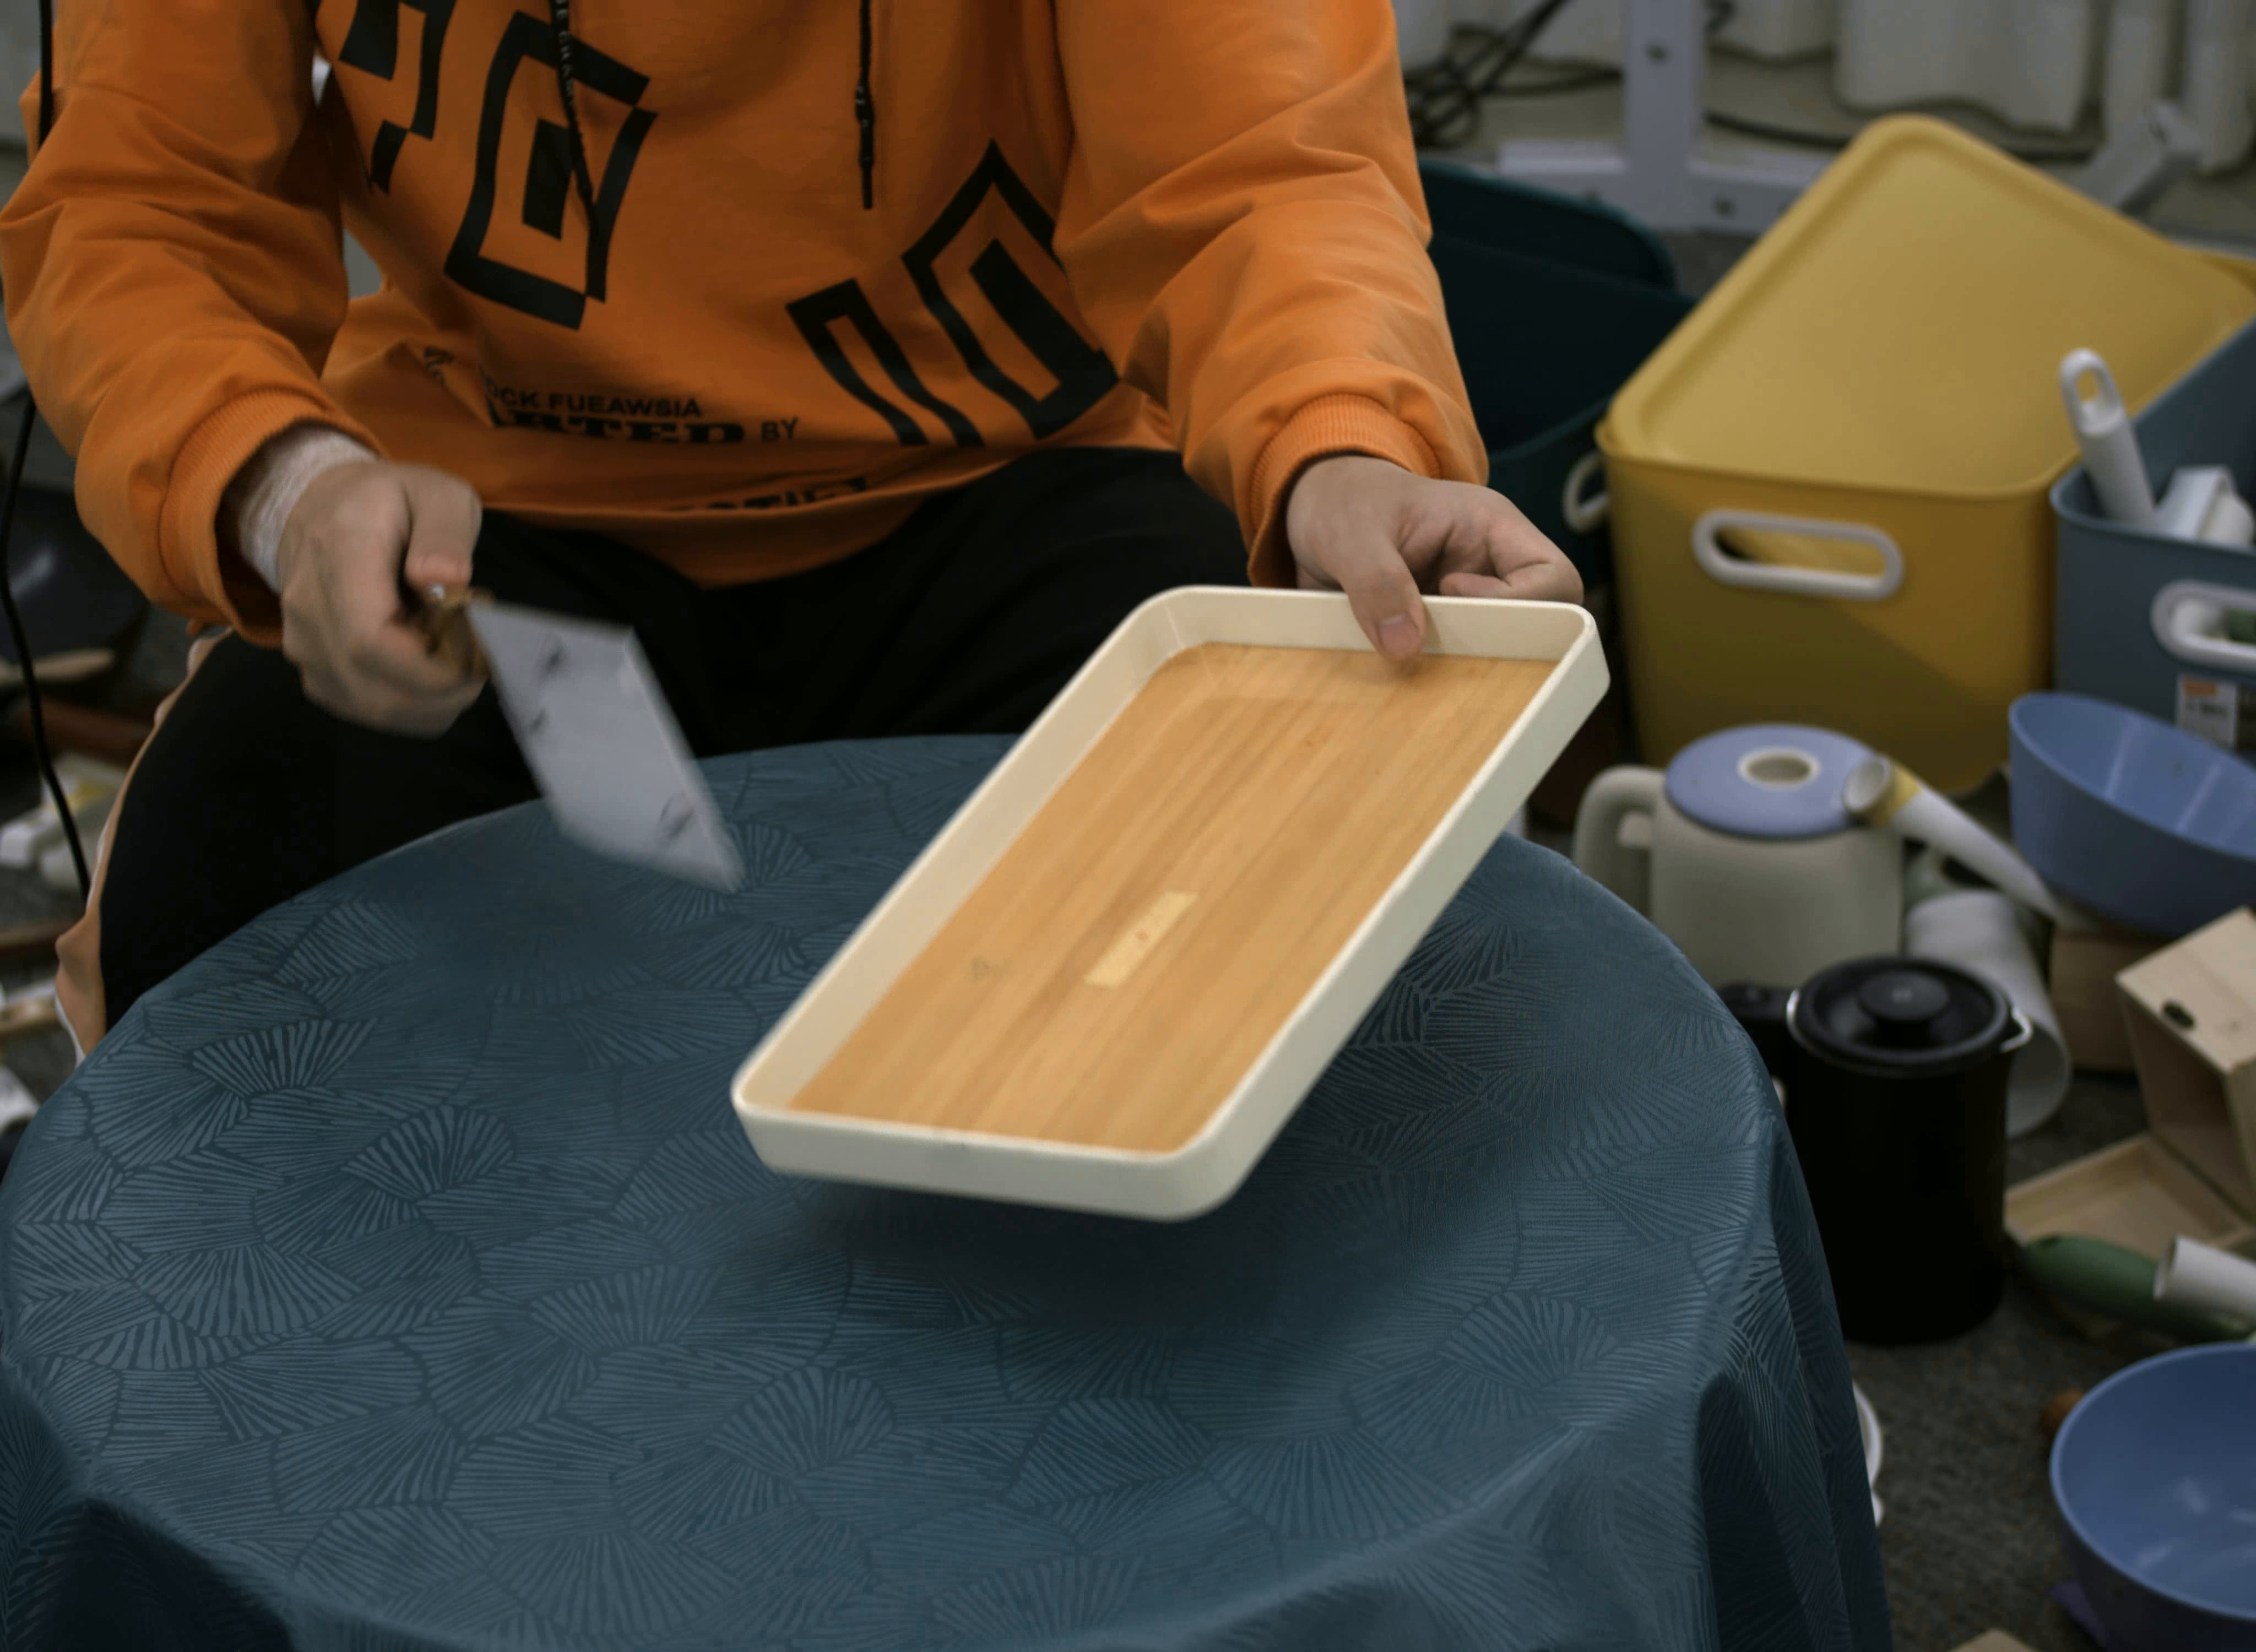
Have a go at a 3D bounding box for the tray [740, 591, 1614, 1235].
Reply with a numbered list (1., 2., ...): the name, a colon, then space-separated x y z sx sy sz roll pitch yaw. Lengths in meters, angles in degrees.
1. tray: 0.020 0.022 1.867 0.190 0.027 0.306 4 39 35

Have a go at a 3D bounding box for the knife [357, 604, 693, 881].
1. knife: -0.200 -0.027 1.882 0.021 0.092 0.305 -27 15 -17
